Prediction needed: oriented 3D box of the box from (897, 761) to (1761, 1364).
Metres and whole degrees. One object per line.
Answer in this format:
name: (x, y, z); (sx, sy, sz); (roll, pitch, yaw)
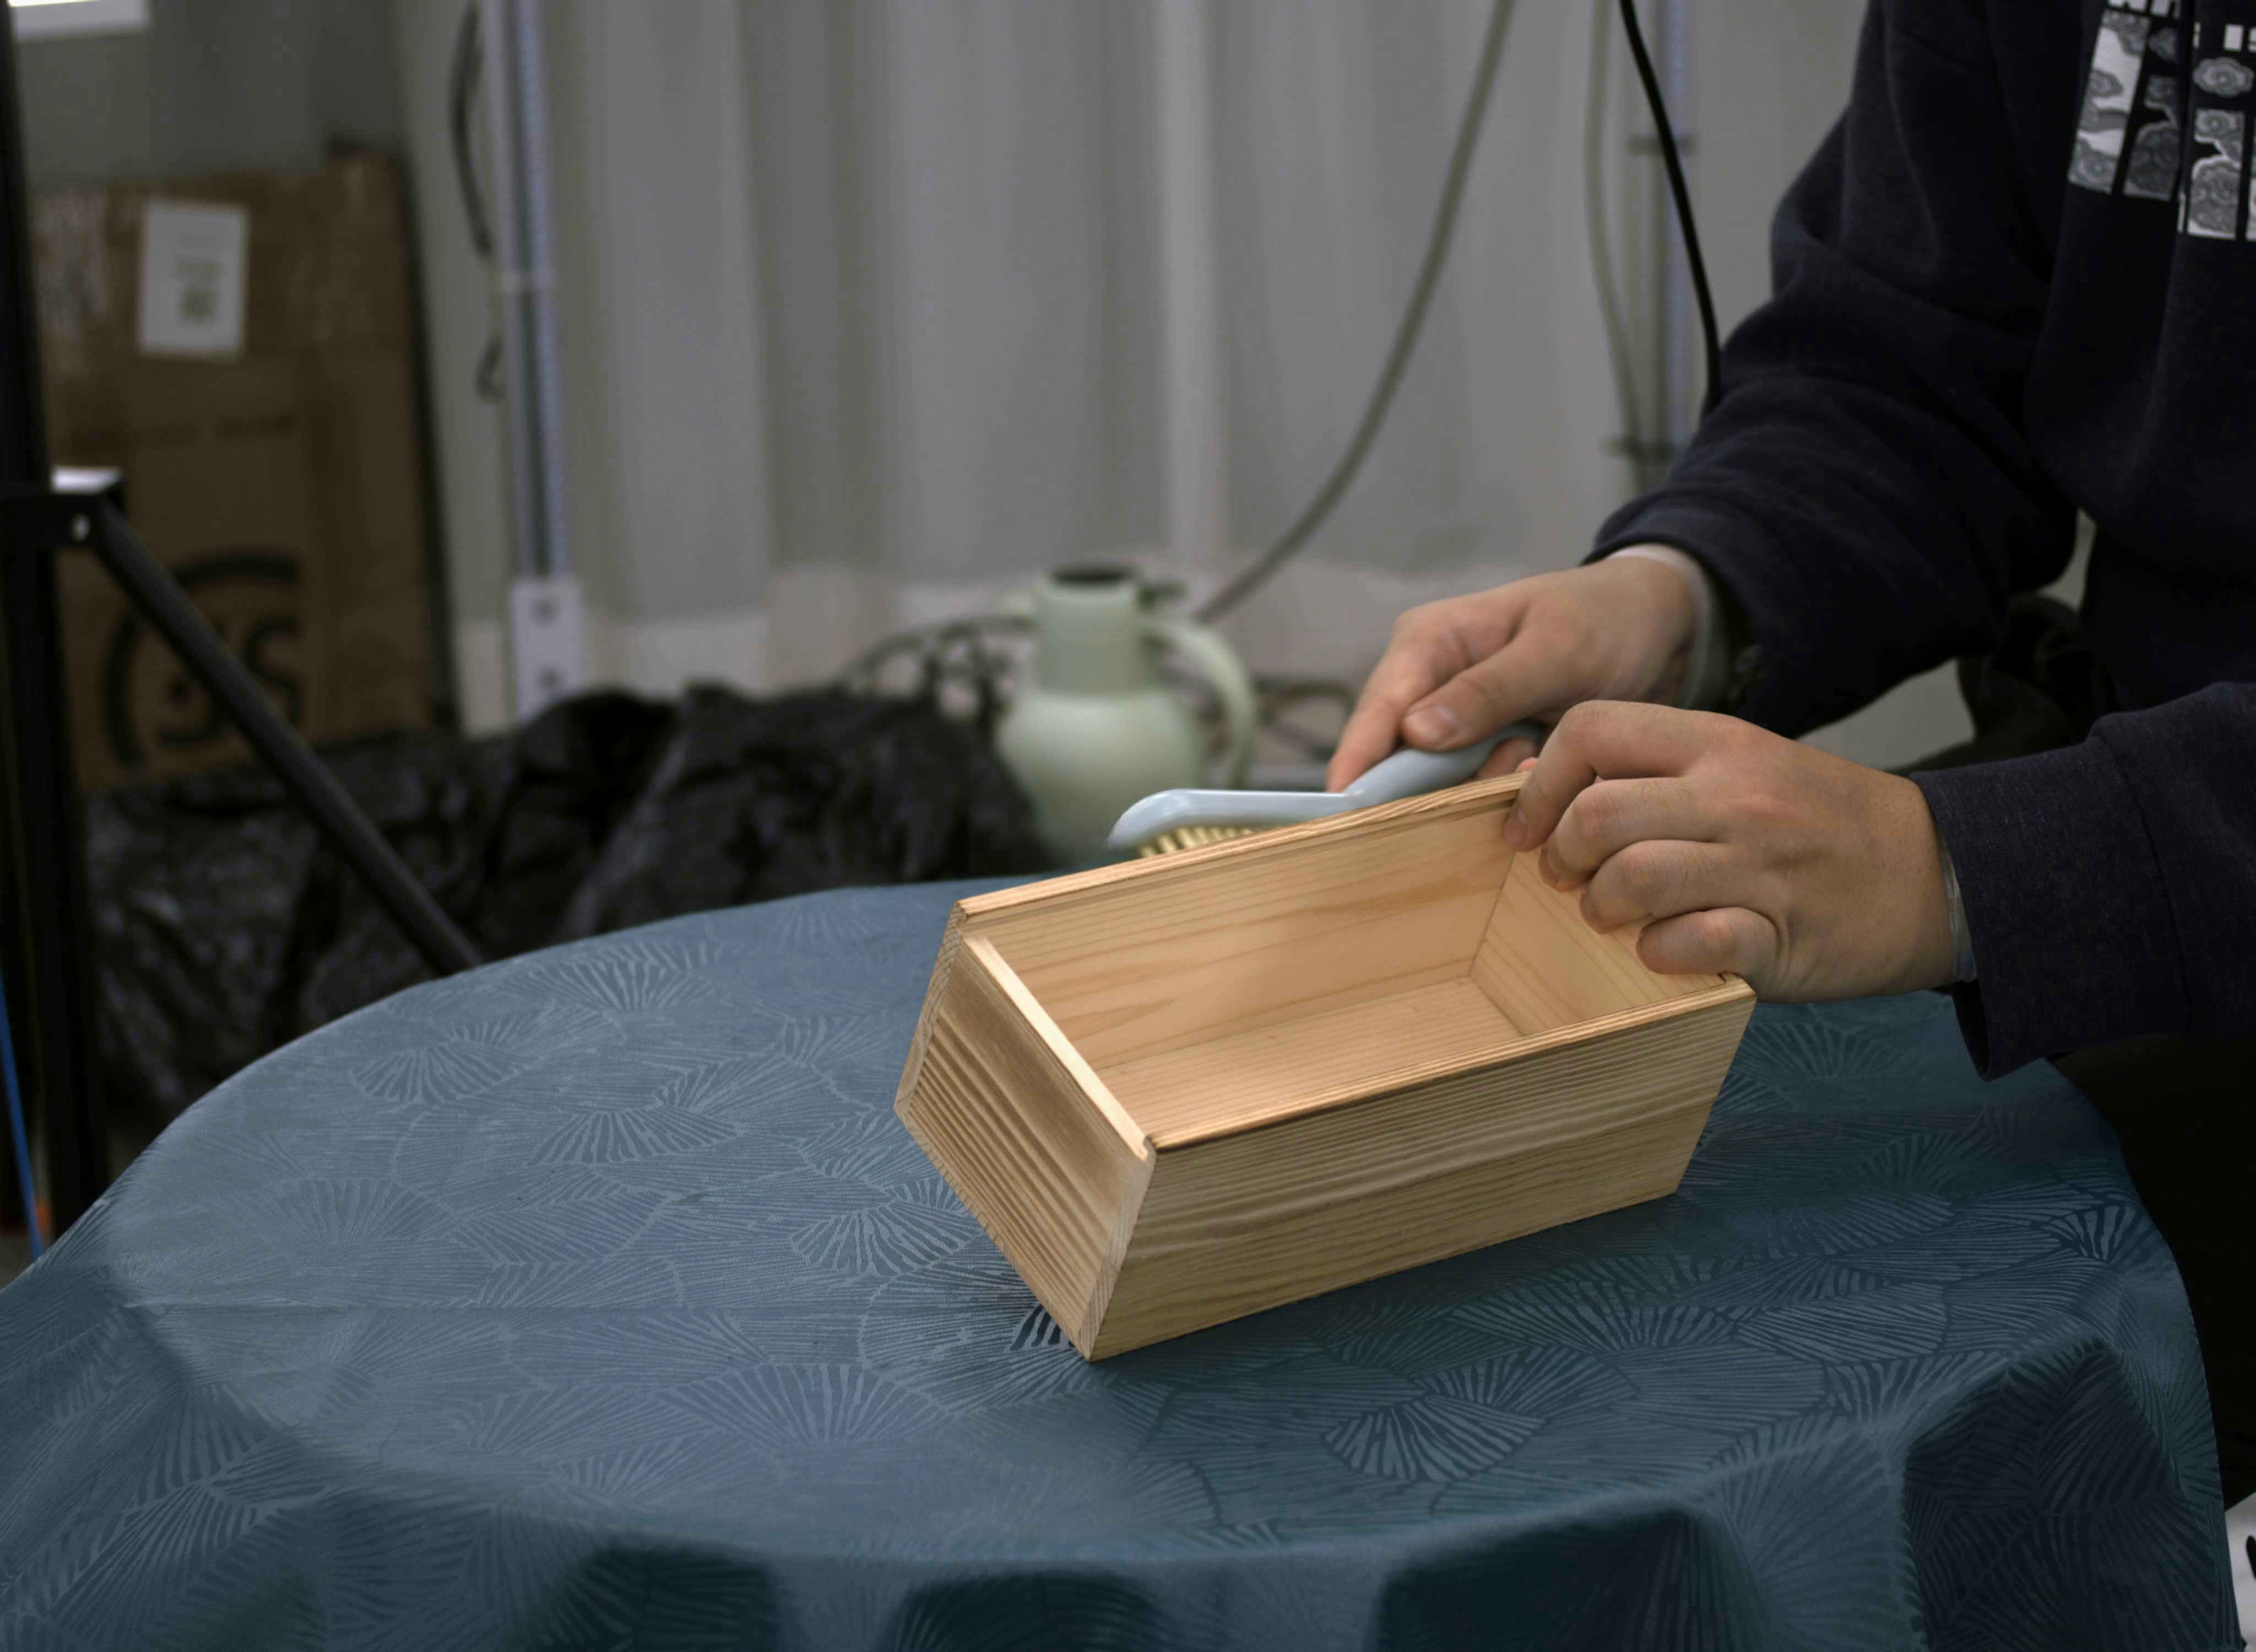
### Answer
box: (0.057, 0.063, 1.490); (0.206, 0.080, 0.110); (-13, 46, -32)

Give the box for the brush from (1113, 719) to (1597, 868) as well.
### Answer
brush: (0.079, -0.003, 1.594); (0.050, 0.038, 0.223); (45, 31, 23)
